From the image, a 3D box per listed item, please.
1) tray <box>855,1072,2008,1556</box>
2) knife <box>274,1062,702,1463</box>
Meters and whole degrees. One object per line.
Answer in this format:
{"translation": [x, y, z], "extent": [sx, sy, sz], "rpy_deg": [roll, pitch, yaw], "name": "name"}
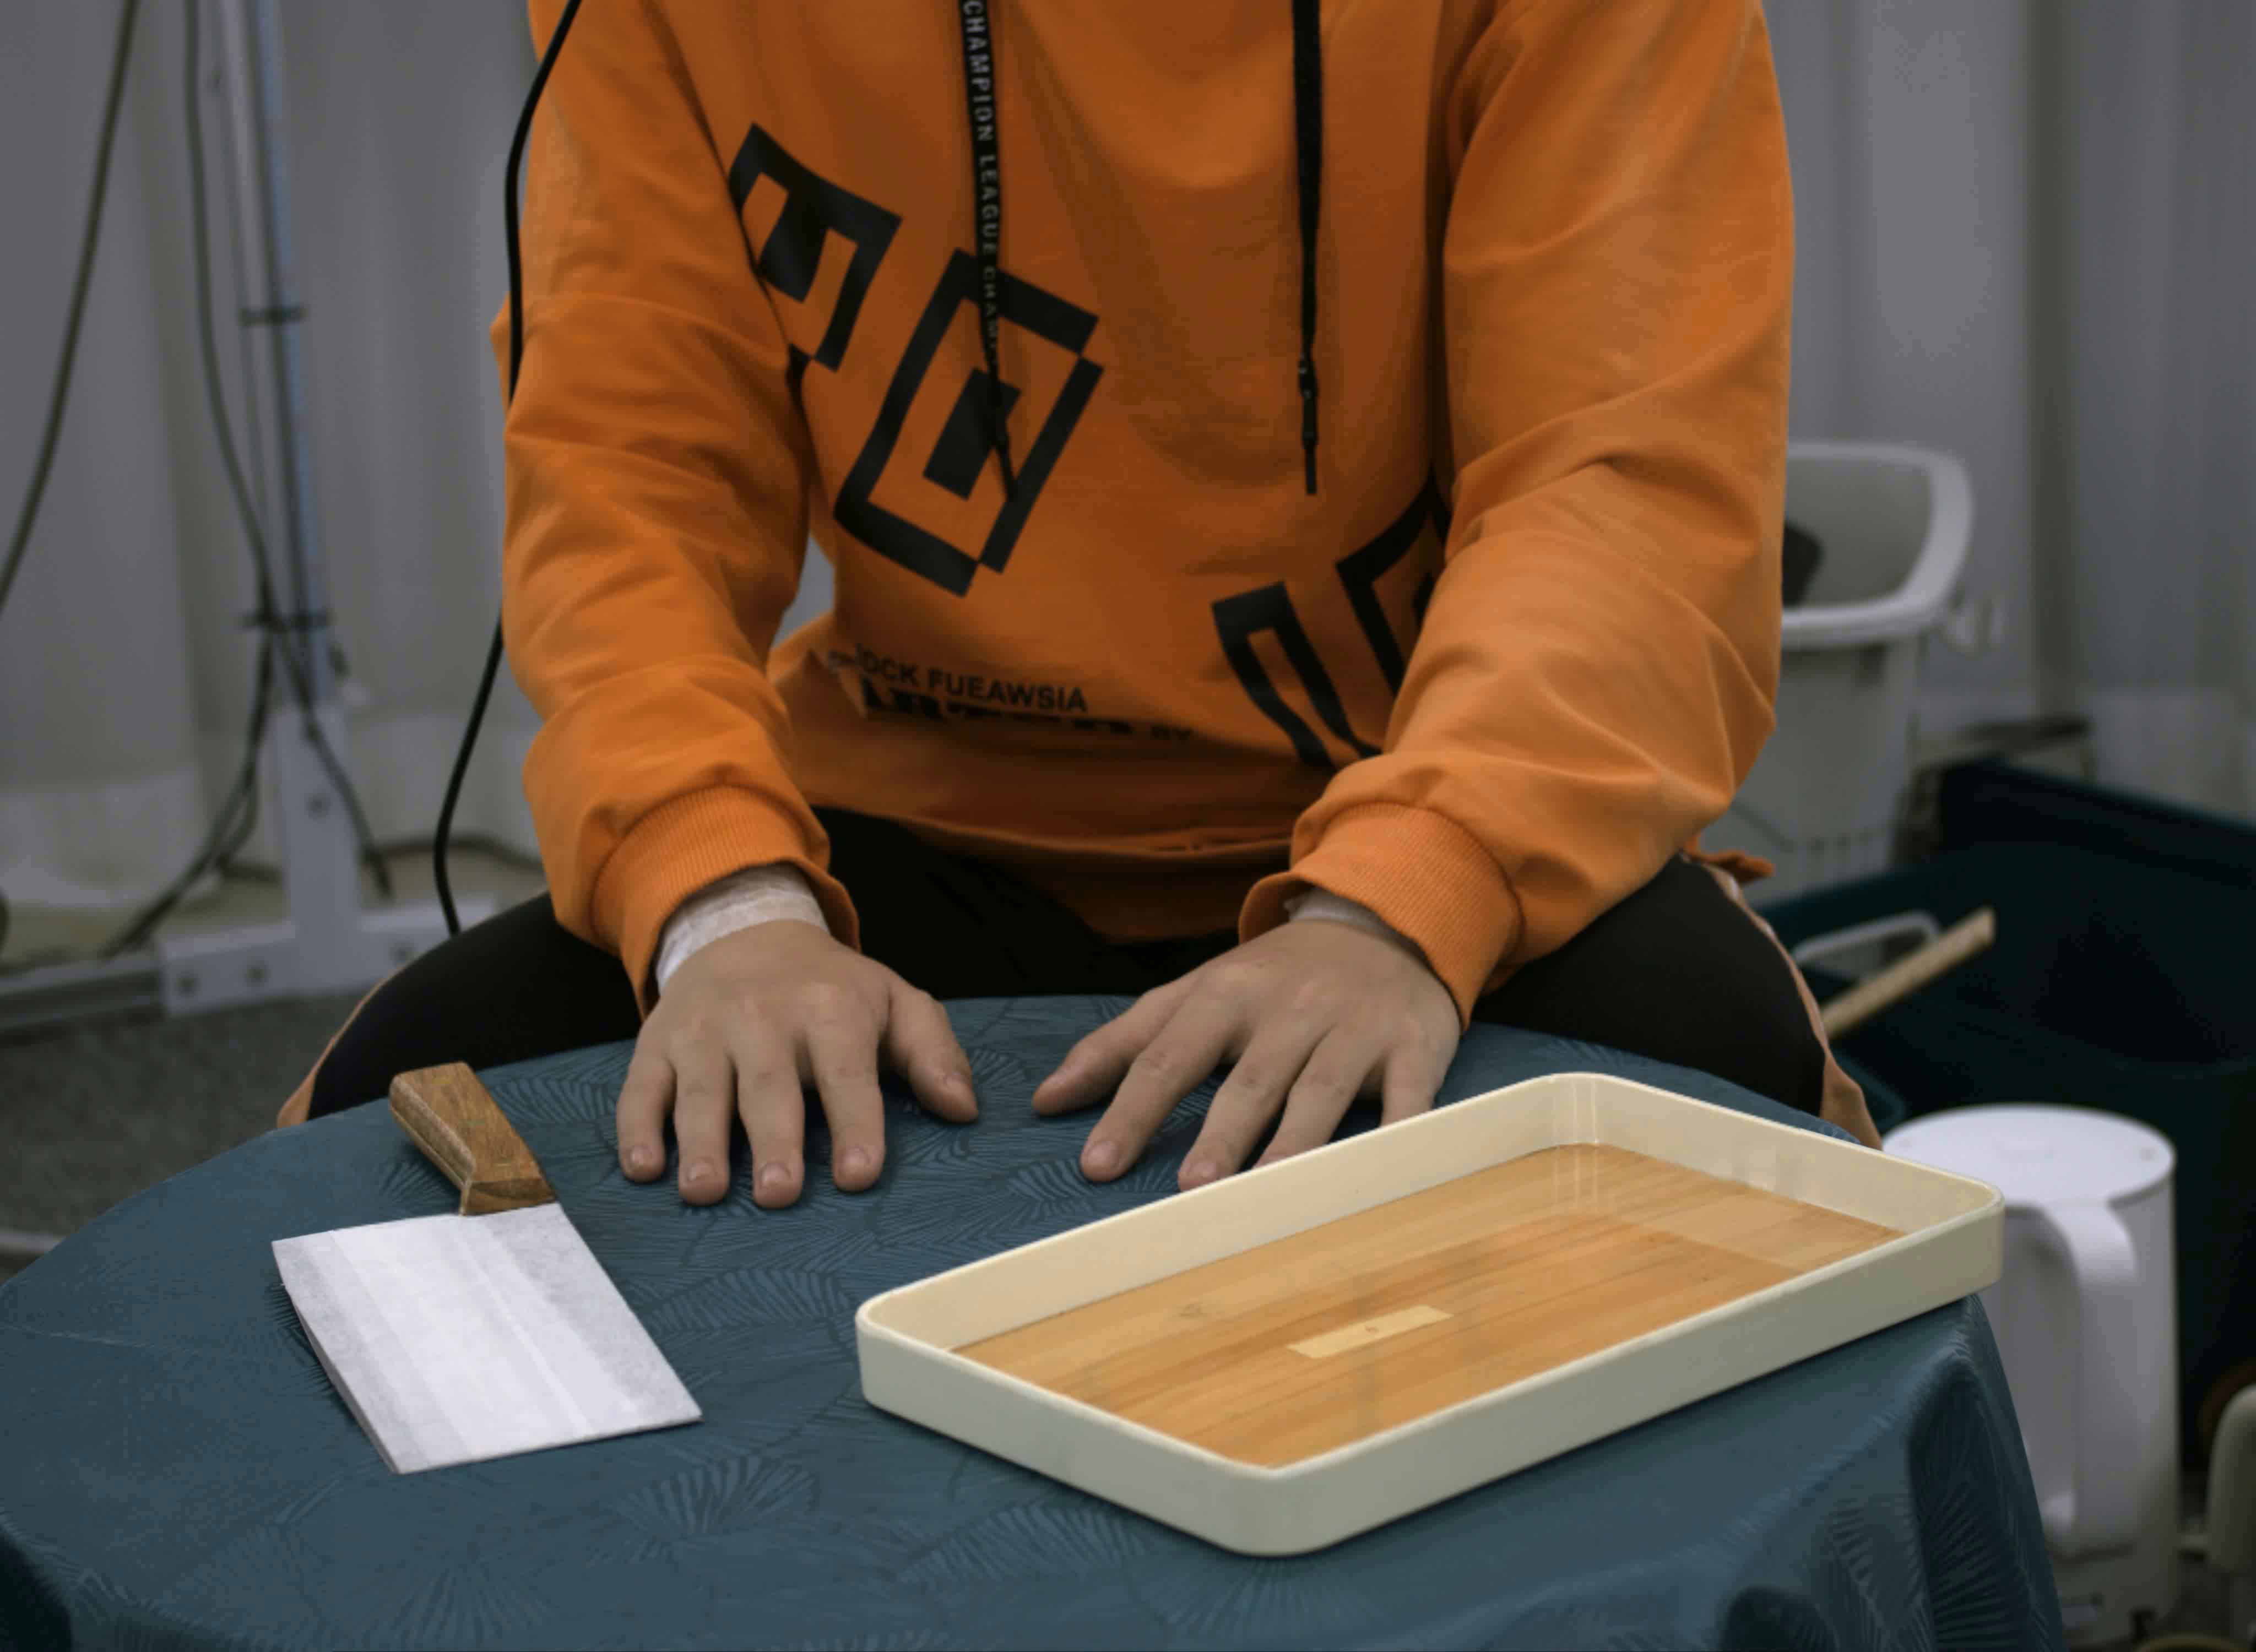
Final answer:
{"translation": [0.090, 0.135, 1.570], "extent": [0.299, 0.027, 0.193], "rpy_deg": [-15, 19, -38], "name": "tray"}
{"translation": [-0.208, 0.132, 1.664], "extent": [0.092, 0.021, 0.308], "rpy_deg": [-9, 18, -17], "name": "knife"}
